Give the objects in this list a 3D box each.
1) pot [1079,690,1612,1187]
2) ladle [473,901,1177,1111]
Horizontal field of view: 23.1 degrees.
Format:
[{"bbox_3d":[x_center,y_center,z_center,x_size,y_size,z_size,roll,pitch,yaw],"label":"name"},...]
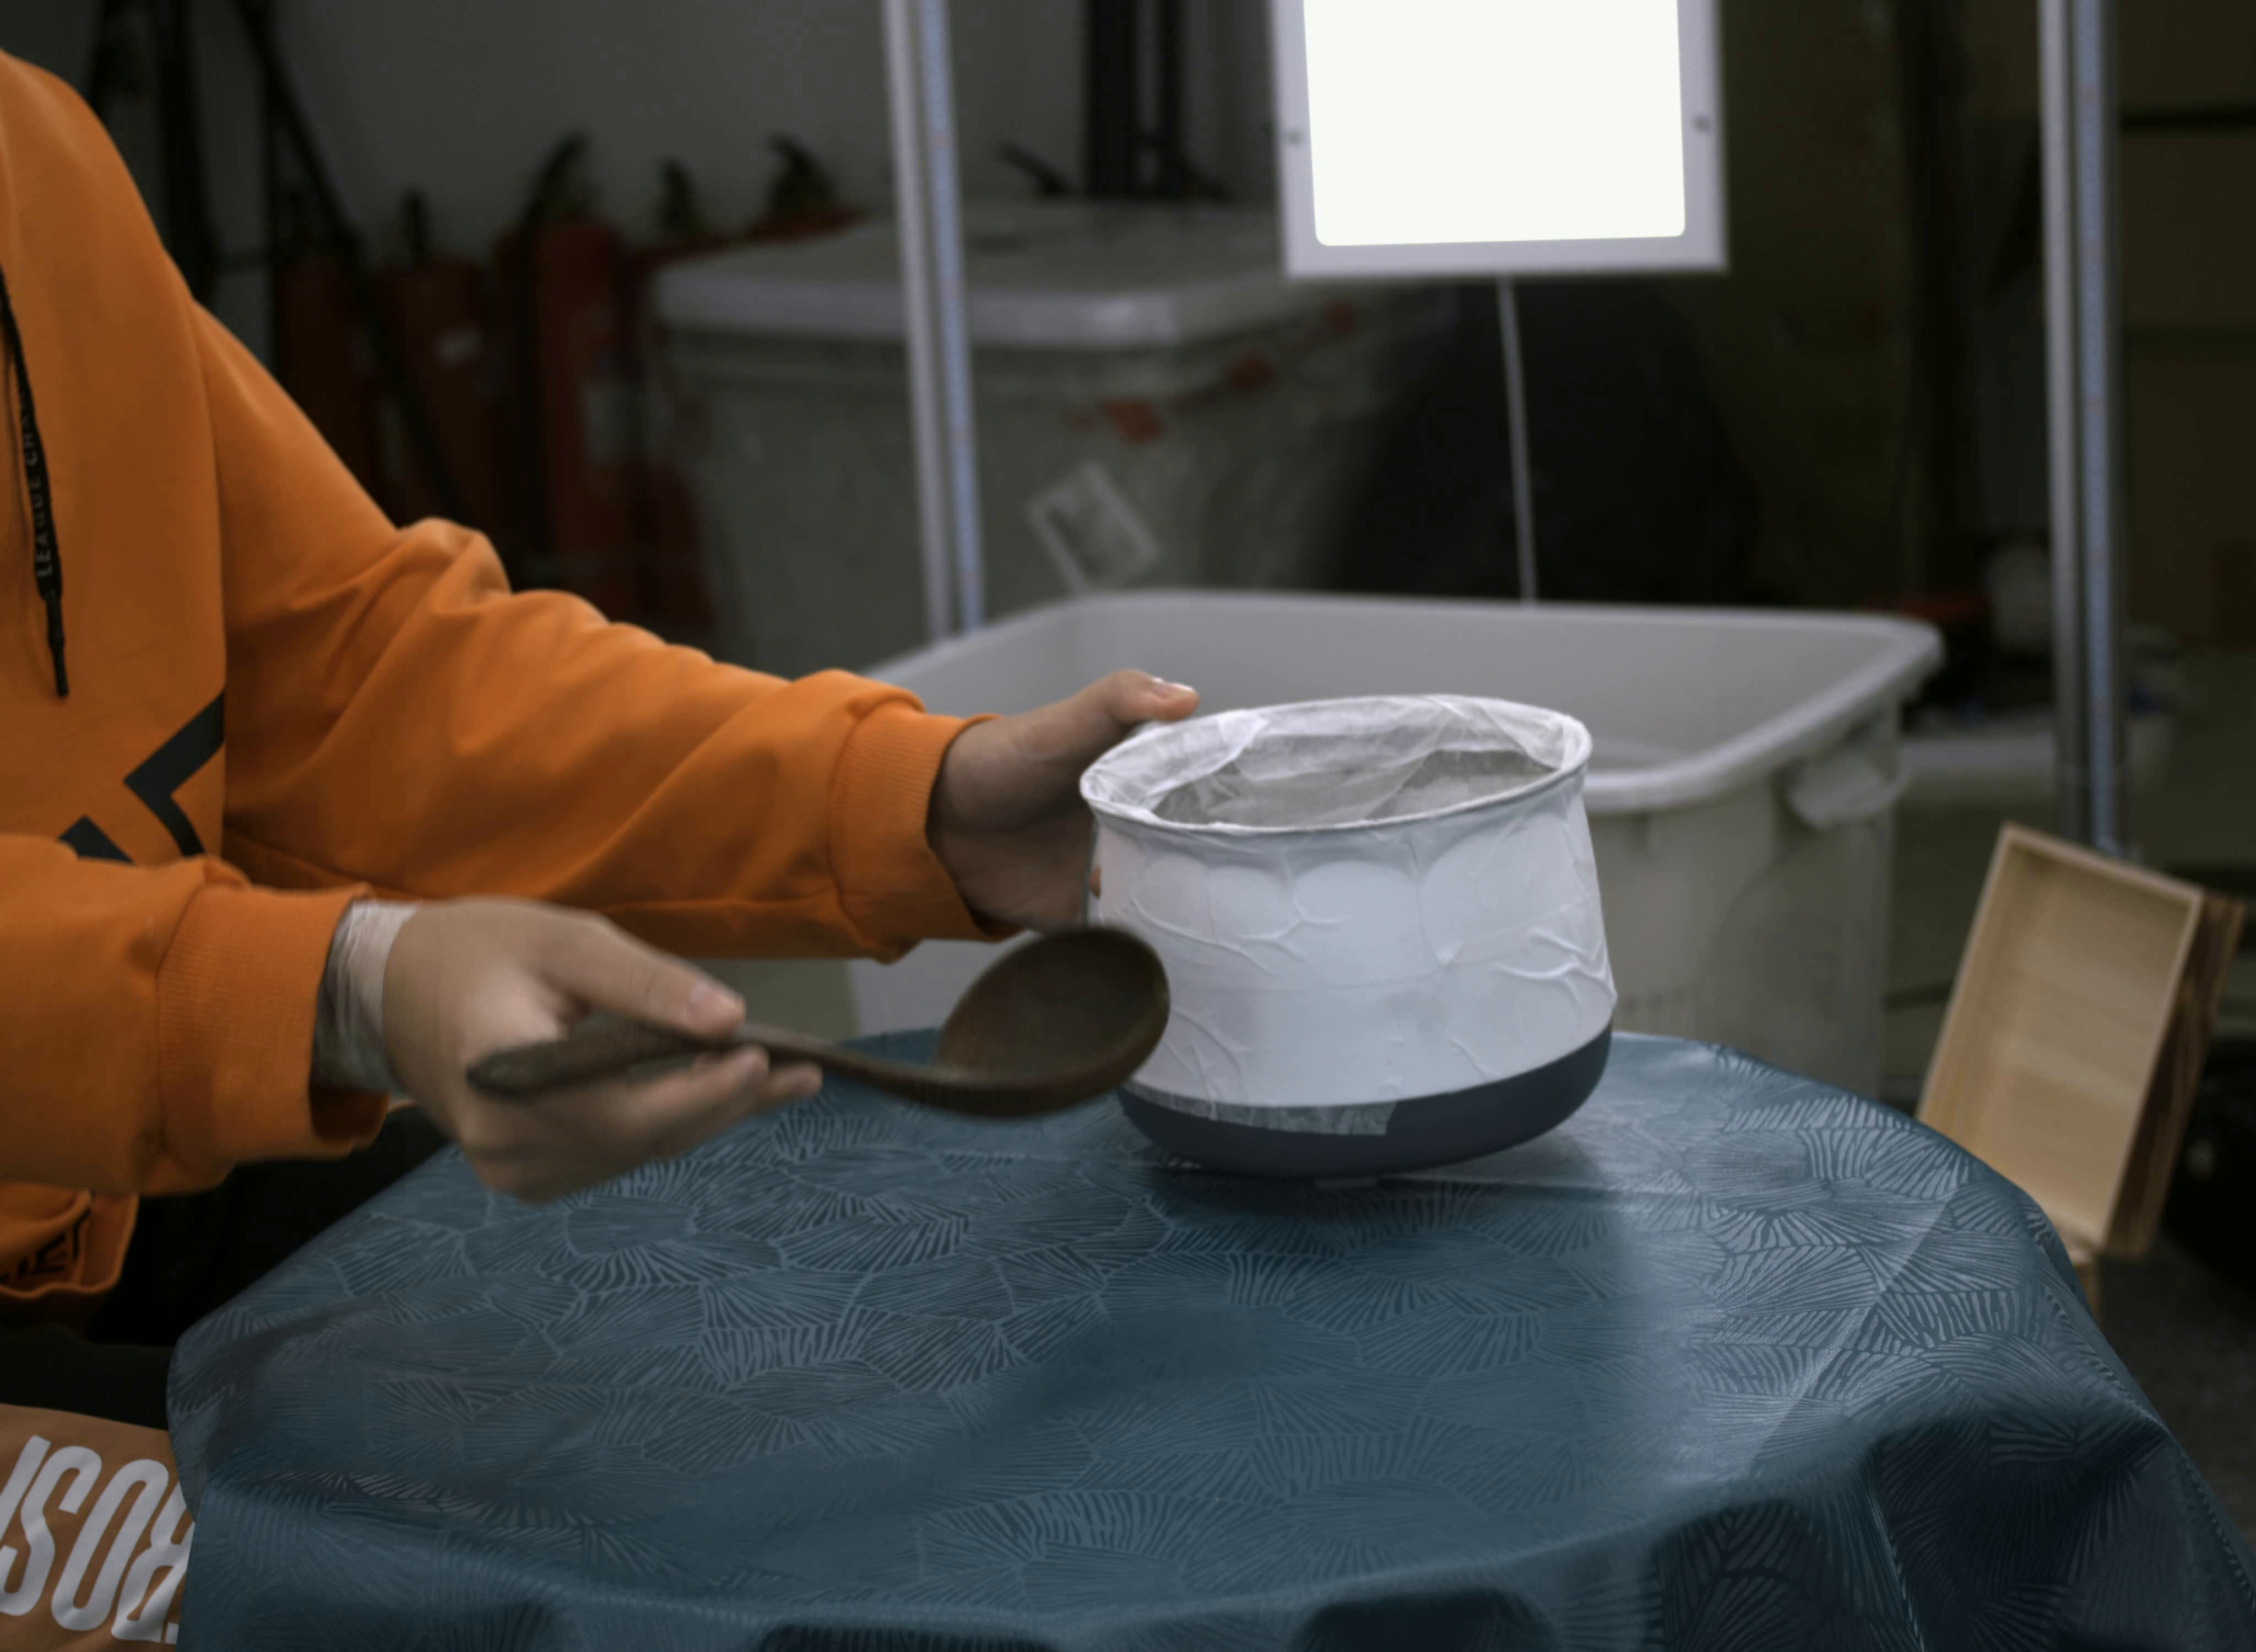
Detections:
[{"bbox_3d":[0.060,0.033,1.915,0.174,0.137,0.238,-16,18,-35],"label":"pot"},{"bbox_3d":[-0.089,0.049,1.675,0.077,0.071,0.267,9,1,41],"label":"ladle"}]
